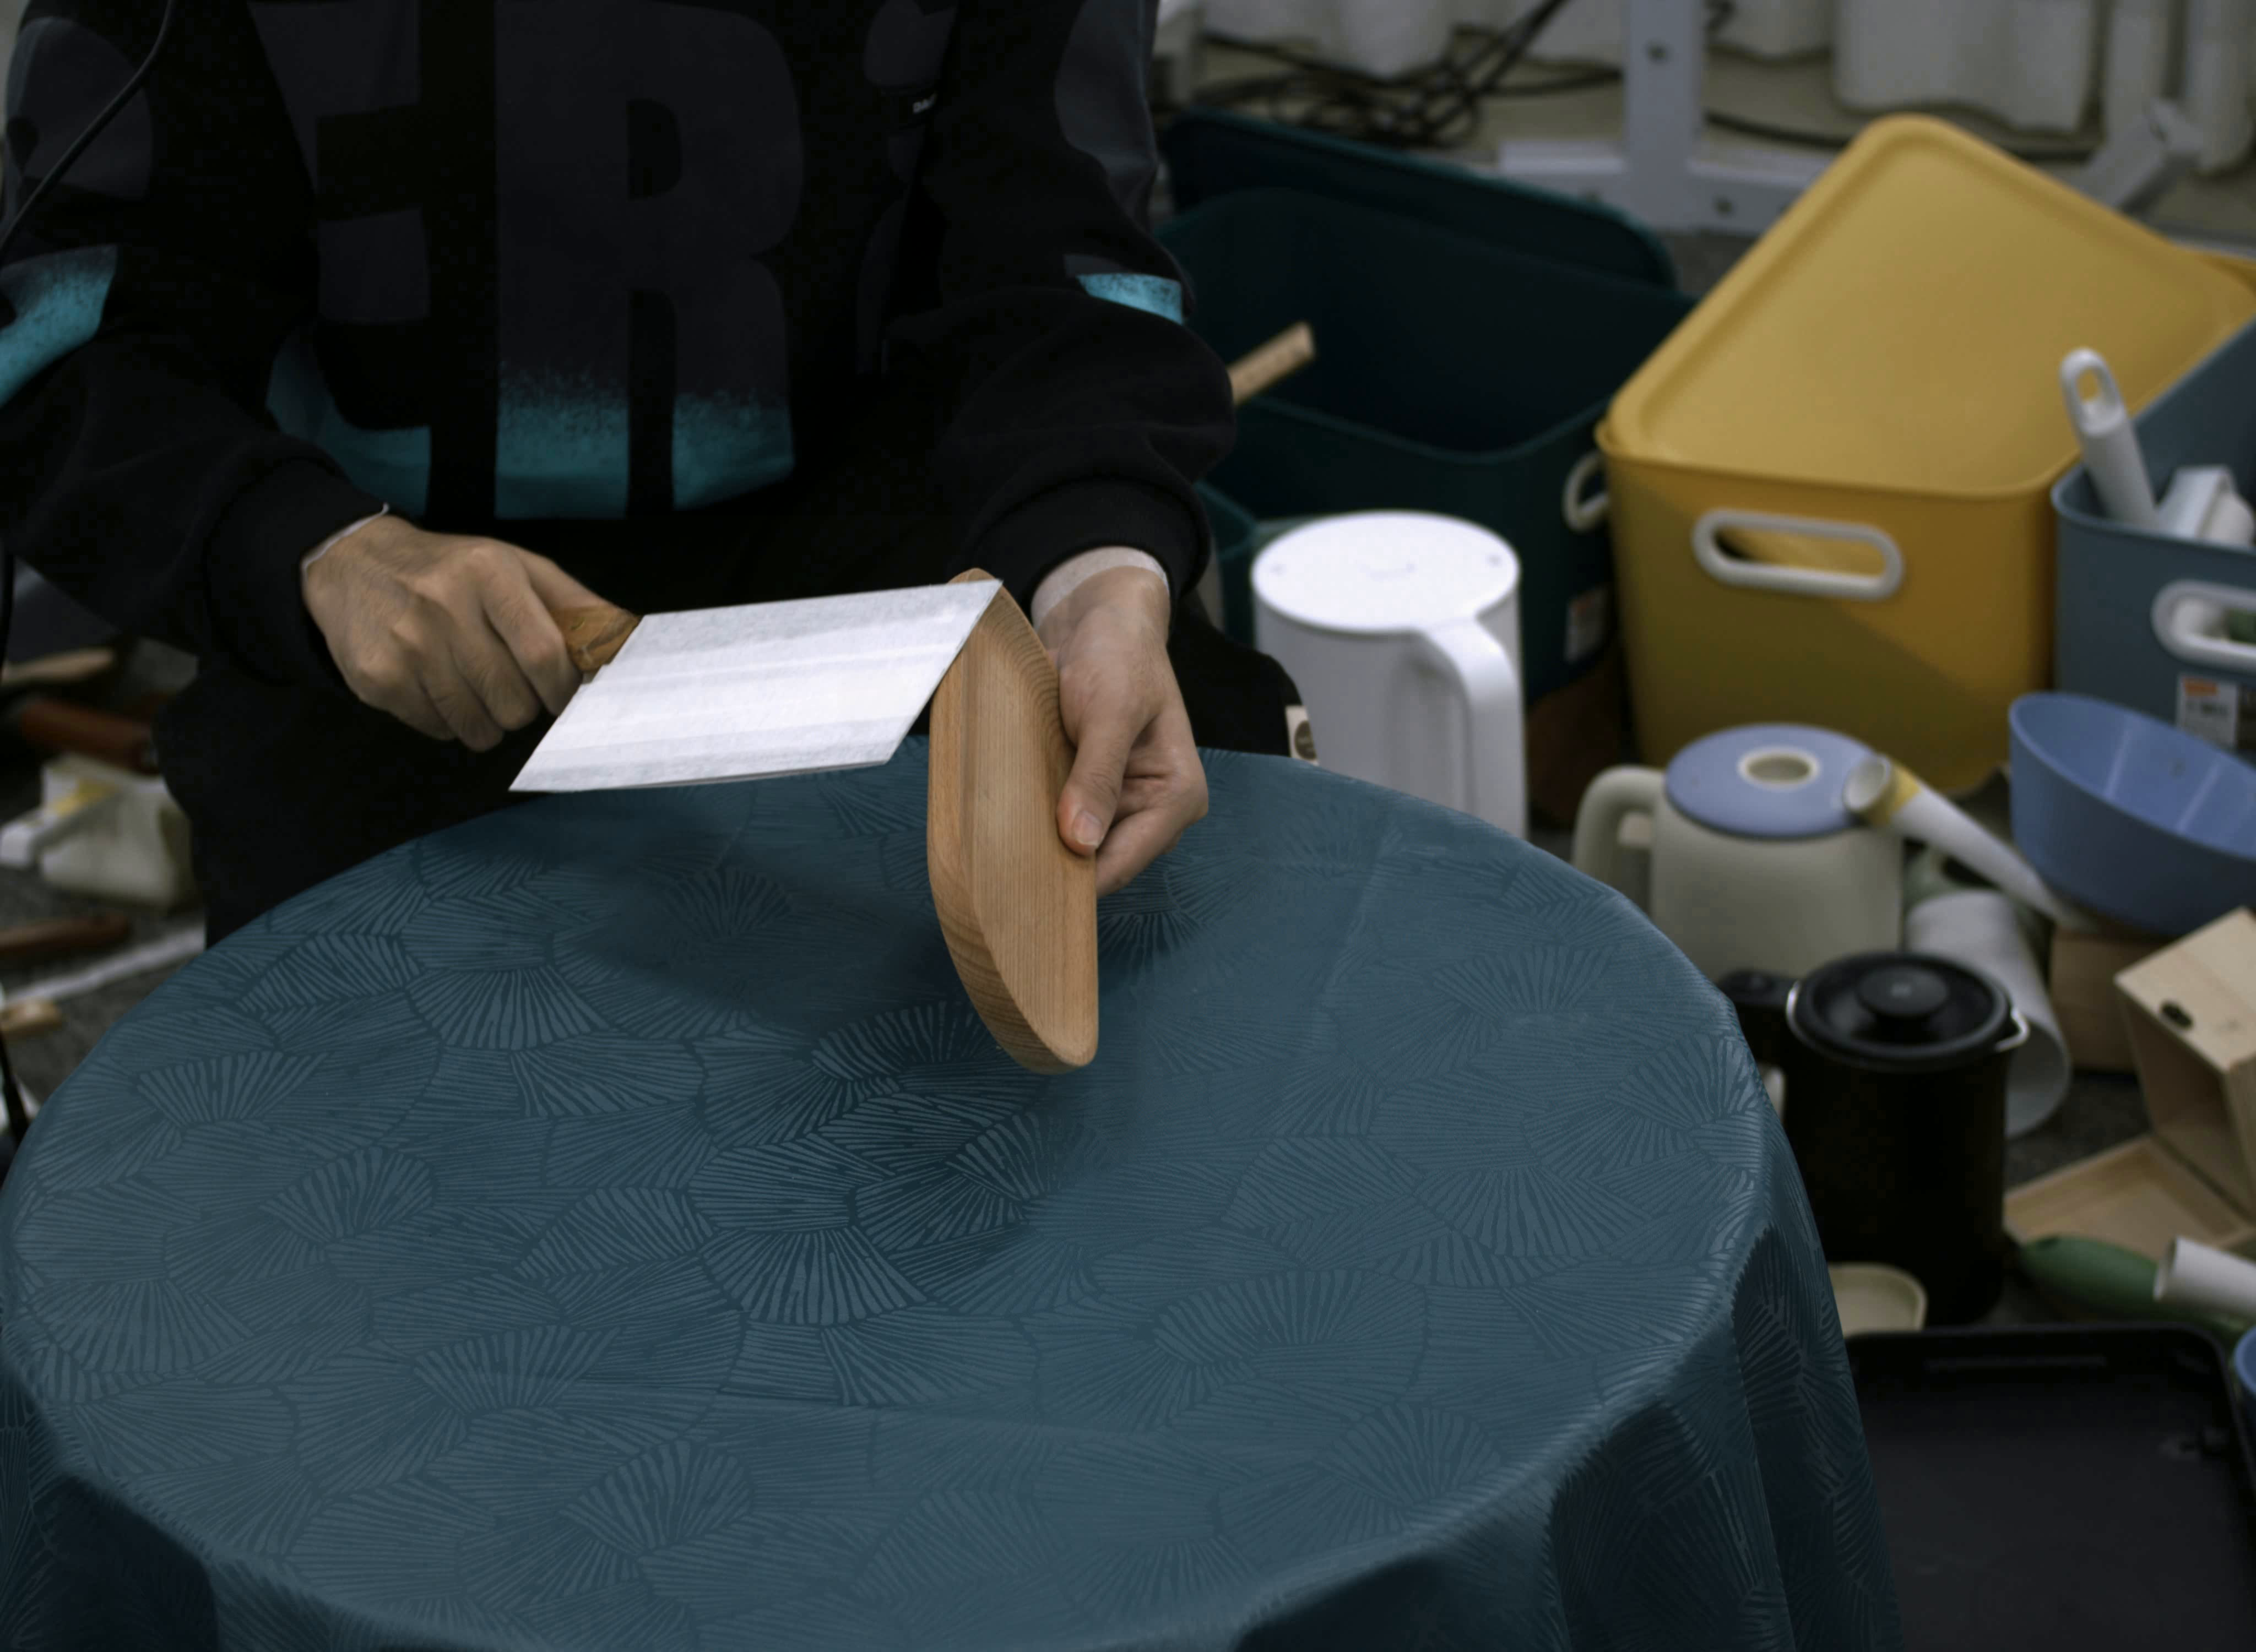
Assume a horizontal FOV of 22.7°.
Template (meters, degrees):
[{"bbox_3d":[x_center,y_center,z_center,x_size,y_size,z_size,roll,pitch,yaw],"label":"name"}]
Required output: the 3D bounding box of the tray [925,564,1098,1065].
[{"bbox_3d":[-0.040,-0.005,1.932,0.020,0.101,0.235,-23,32,13],"label":"tray"}]

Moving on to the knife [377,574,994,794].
[{"bbox_3d":[-0.174,-0.048,2.022,0.302,0.021,0.094,-4,43,41],"label":"knife"}]
